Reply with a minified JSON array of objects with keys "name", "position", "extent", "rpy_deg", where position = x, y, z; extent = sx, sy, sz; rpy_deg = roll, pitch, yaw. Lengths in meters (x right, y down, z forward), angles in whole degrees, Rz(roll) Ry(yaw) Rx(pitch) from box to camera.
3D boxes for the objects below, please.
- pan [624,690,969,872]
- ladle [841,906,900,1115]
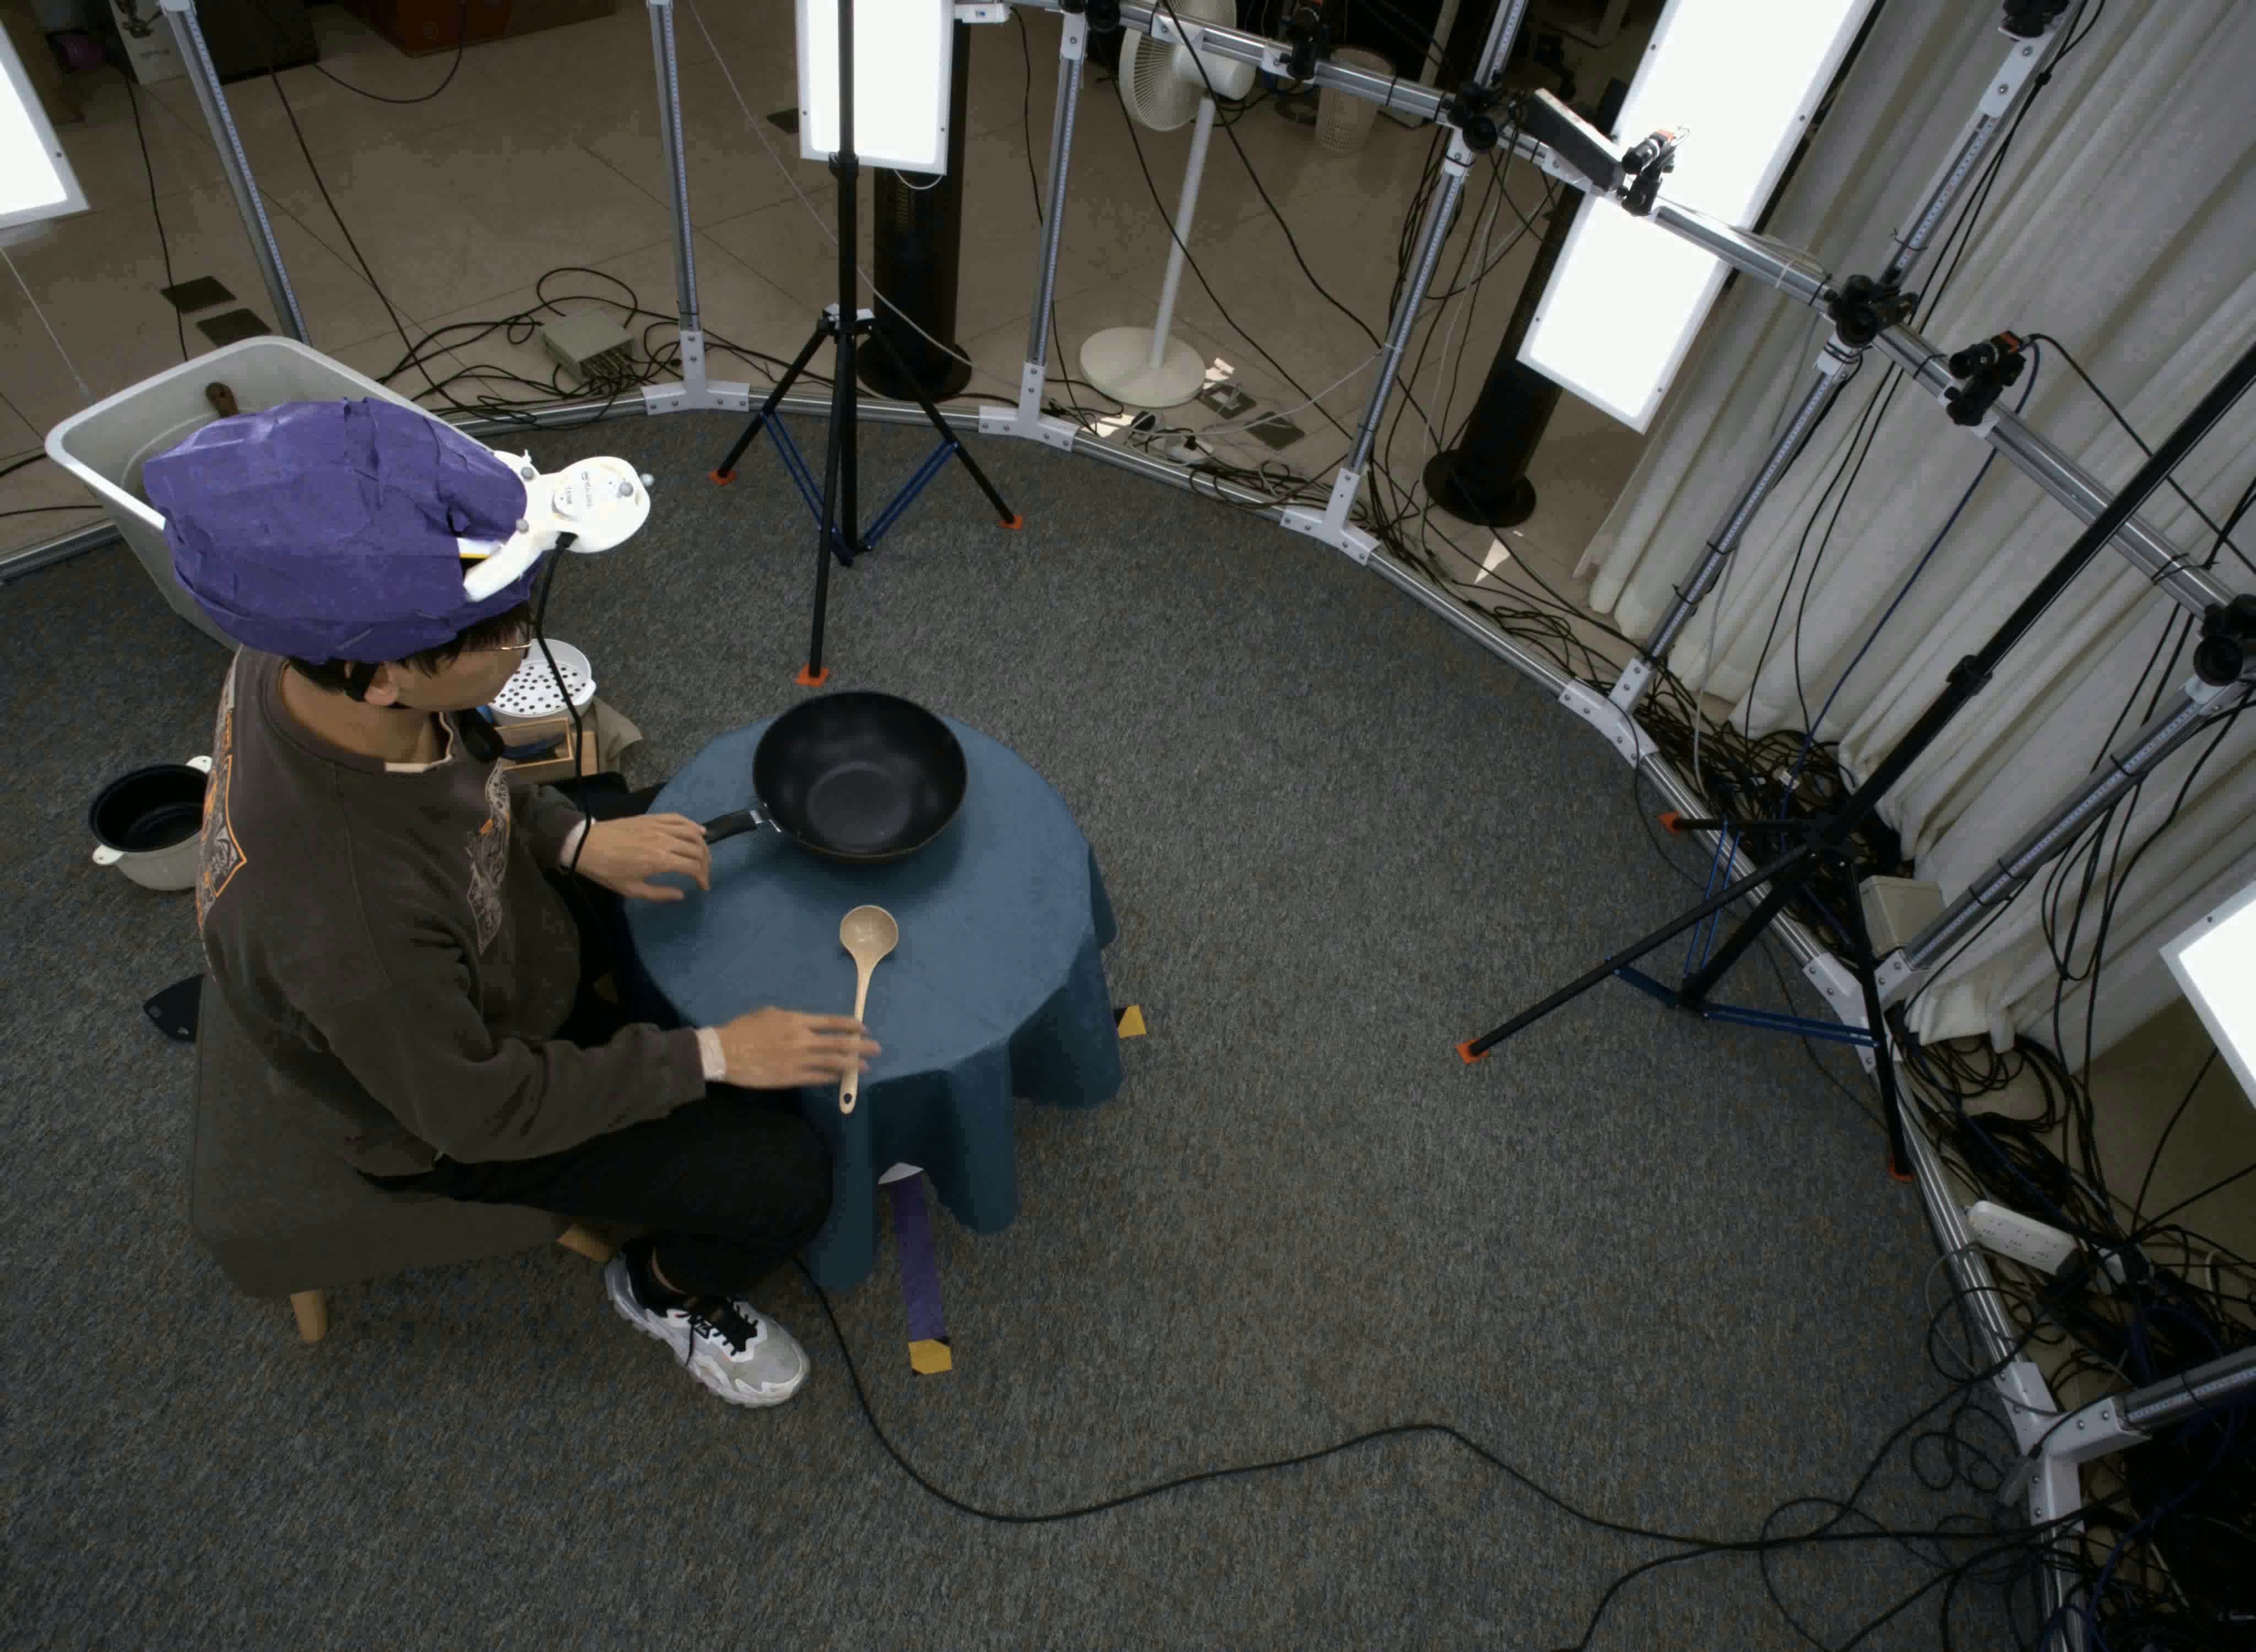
[{"name":"pan","position":[-0.428,-0.015,1.696],"extent":[0.465,0.088,0.281],"rpy_deg":[-26,64,-27]},{"name":"ladle","position":[-0.318,0.212,1.567],"extent":[0.072,0.074,0.250],"rpy_deg":[6,54,-12]}]
